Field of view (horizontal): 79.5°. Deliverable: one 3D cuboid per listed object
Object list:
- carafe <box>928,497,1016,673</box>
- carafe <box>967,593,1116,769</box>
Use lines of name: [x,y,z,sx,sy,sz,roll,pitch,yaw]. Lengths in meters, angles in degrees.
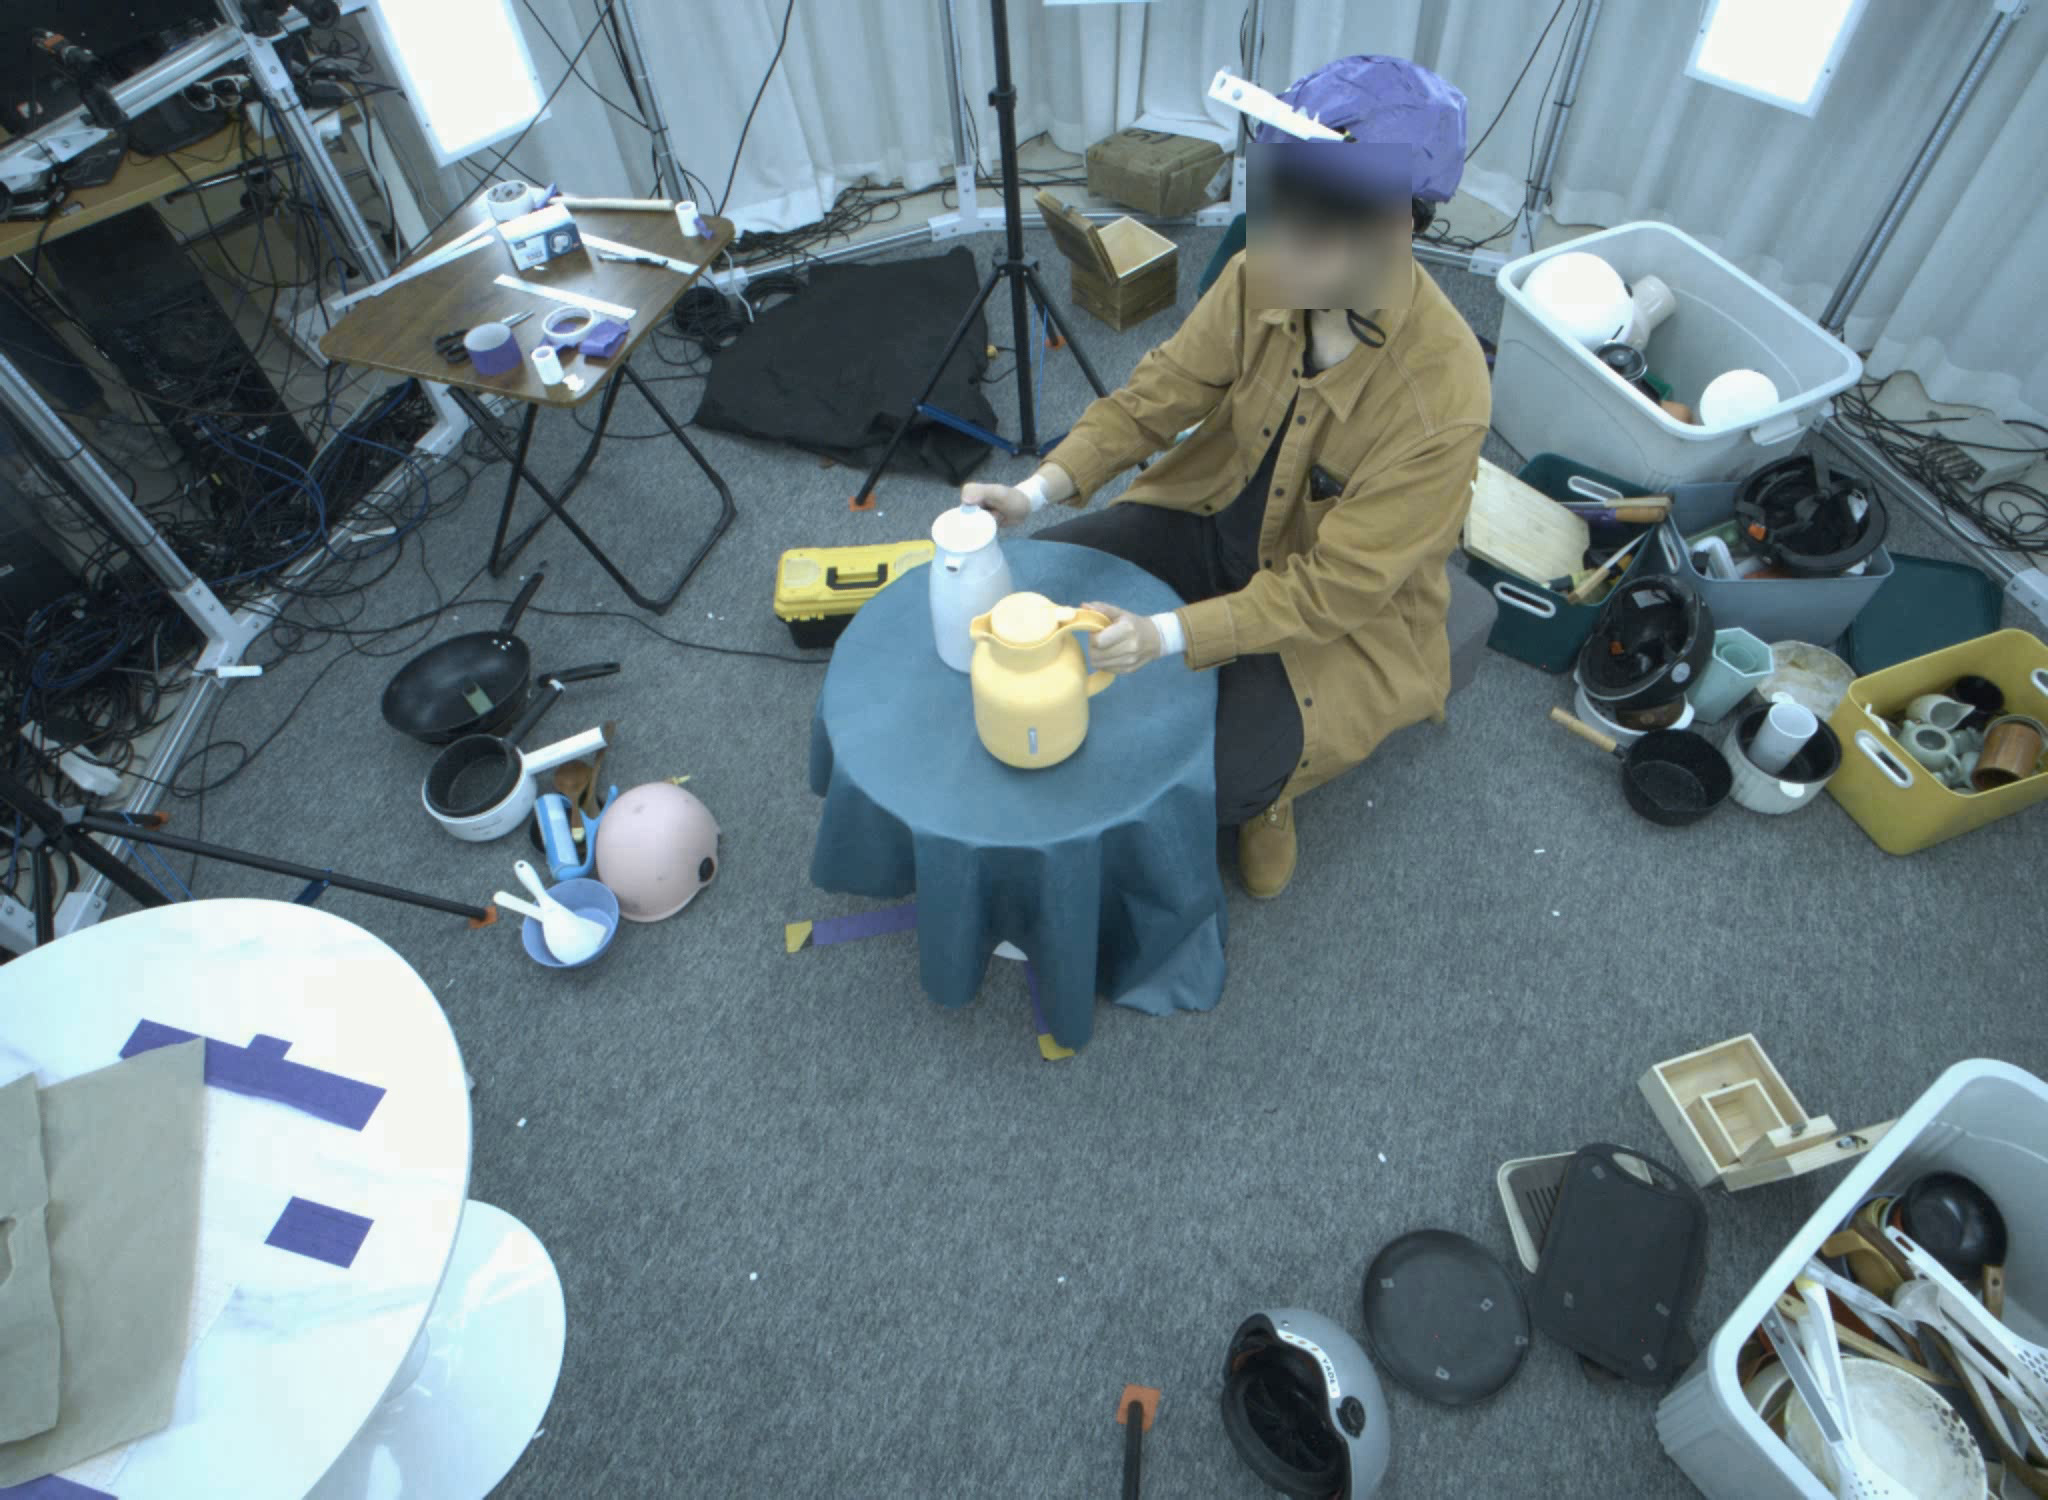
carafe: [-0.075,-0.257,1.815,0.131,0.251,0.167,10,55,11]
carafe: [0.026,-0.101,1.695,0.202,0.263,0.161,-4,56,1]
